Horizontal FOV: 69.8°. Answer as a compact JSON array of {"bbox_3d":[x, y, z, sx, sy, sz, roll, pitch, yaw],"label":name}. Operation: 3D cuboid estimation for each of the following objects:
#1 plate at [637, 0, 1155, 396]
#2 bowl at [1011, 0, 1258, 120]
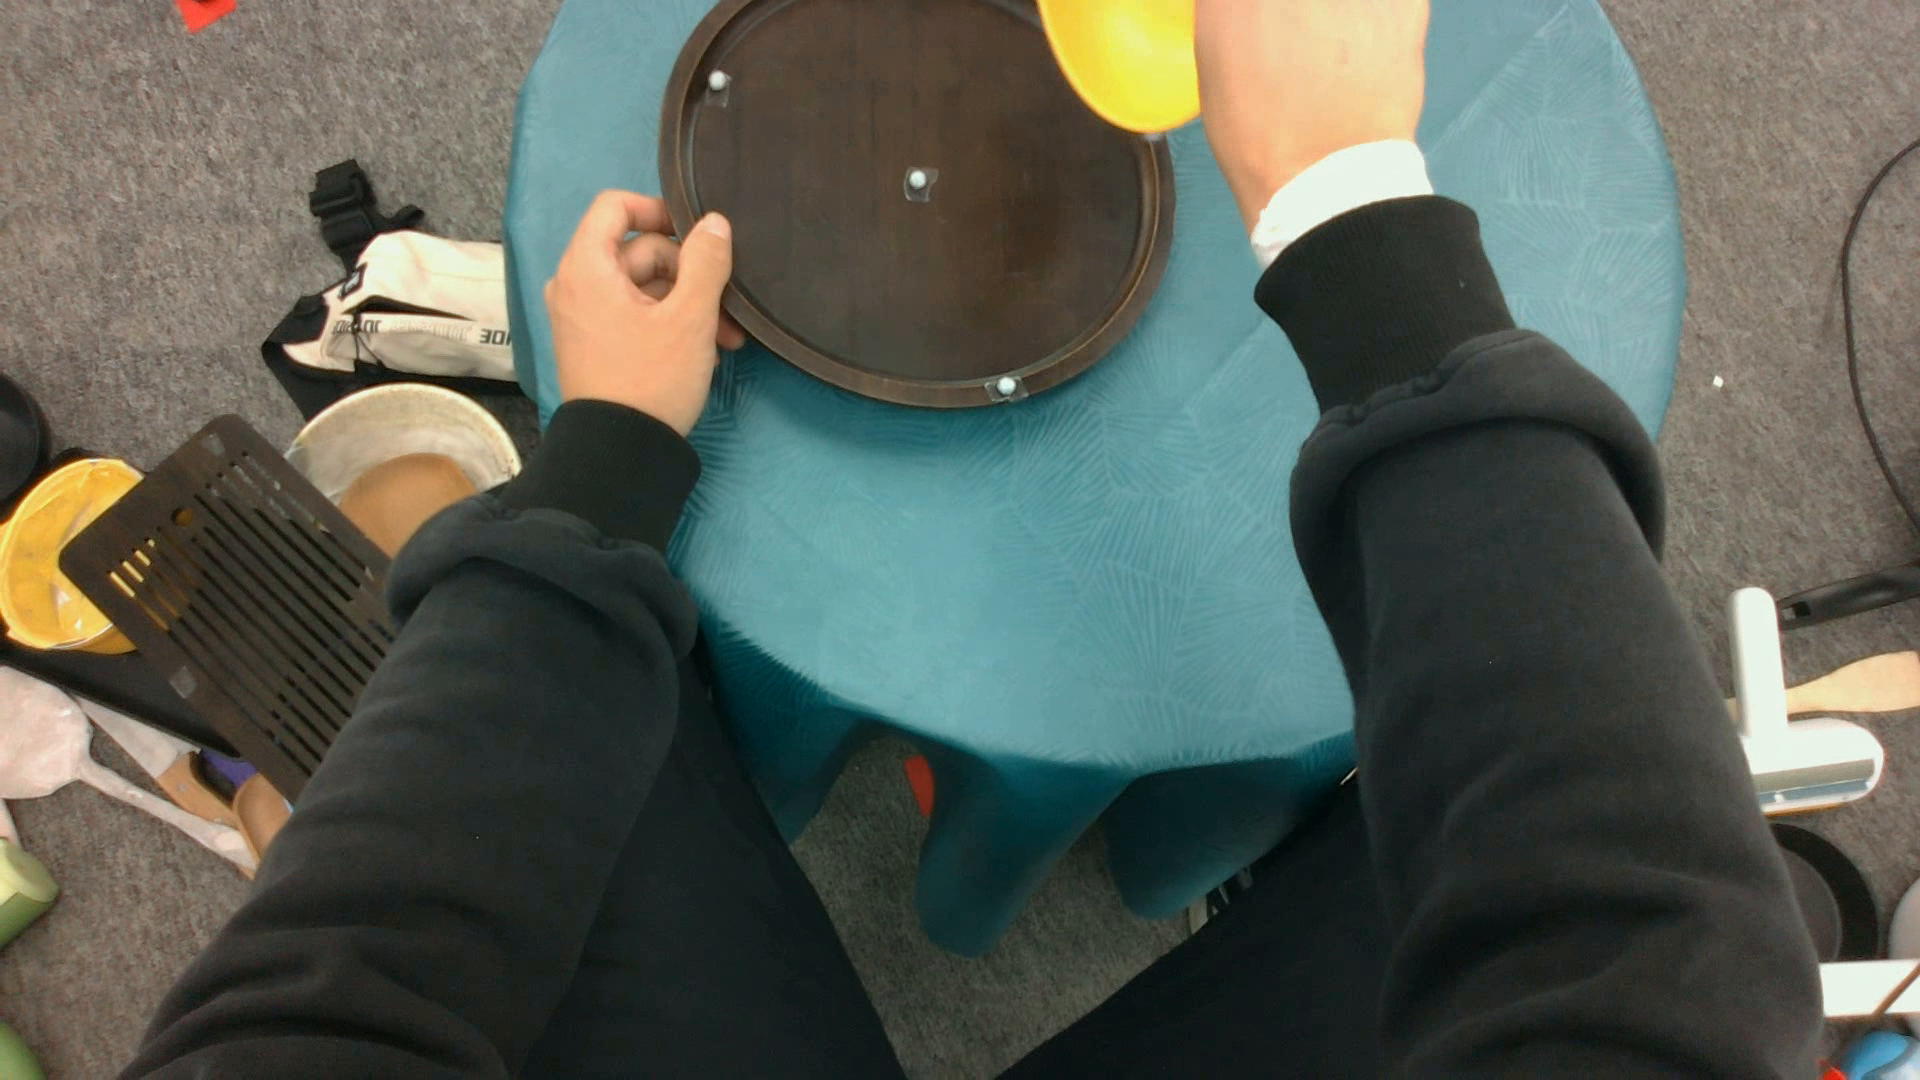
[{"bbox_3d":[-0.027,-0.186,0.668,0.255,0.029,0.255,4,73,-14],"label":"plate"},{"bbox_3d":[0.084,-0.254,0.578,0.060,0.144,0.145,-15,74,-33],"label":"bowl"}]
